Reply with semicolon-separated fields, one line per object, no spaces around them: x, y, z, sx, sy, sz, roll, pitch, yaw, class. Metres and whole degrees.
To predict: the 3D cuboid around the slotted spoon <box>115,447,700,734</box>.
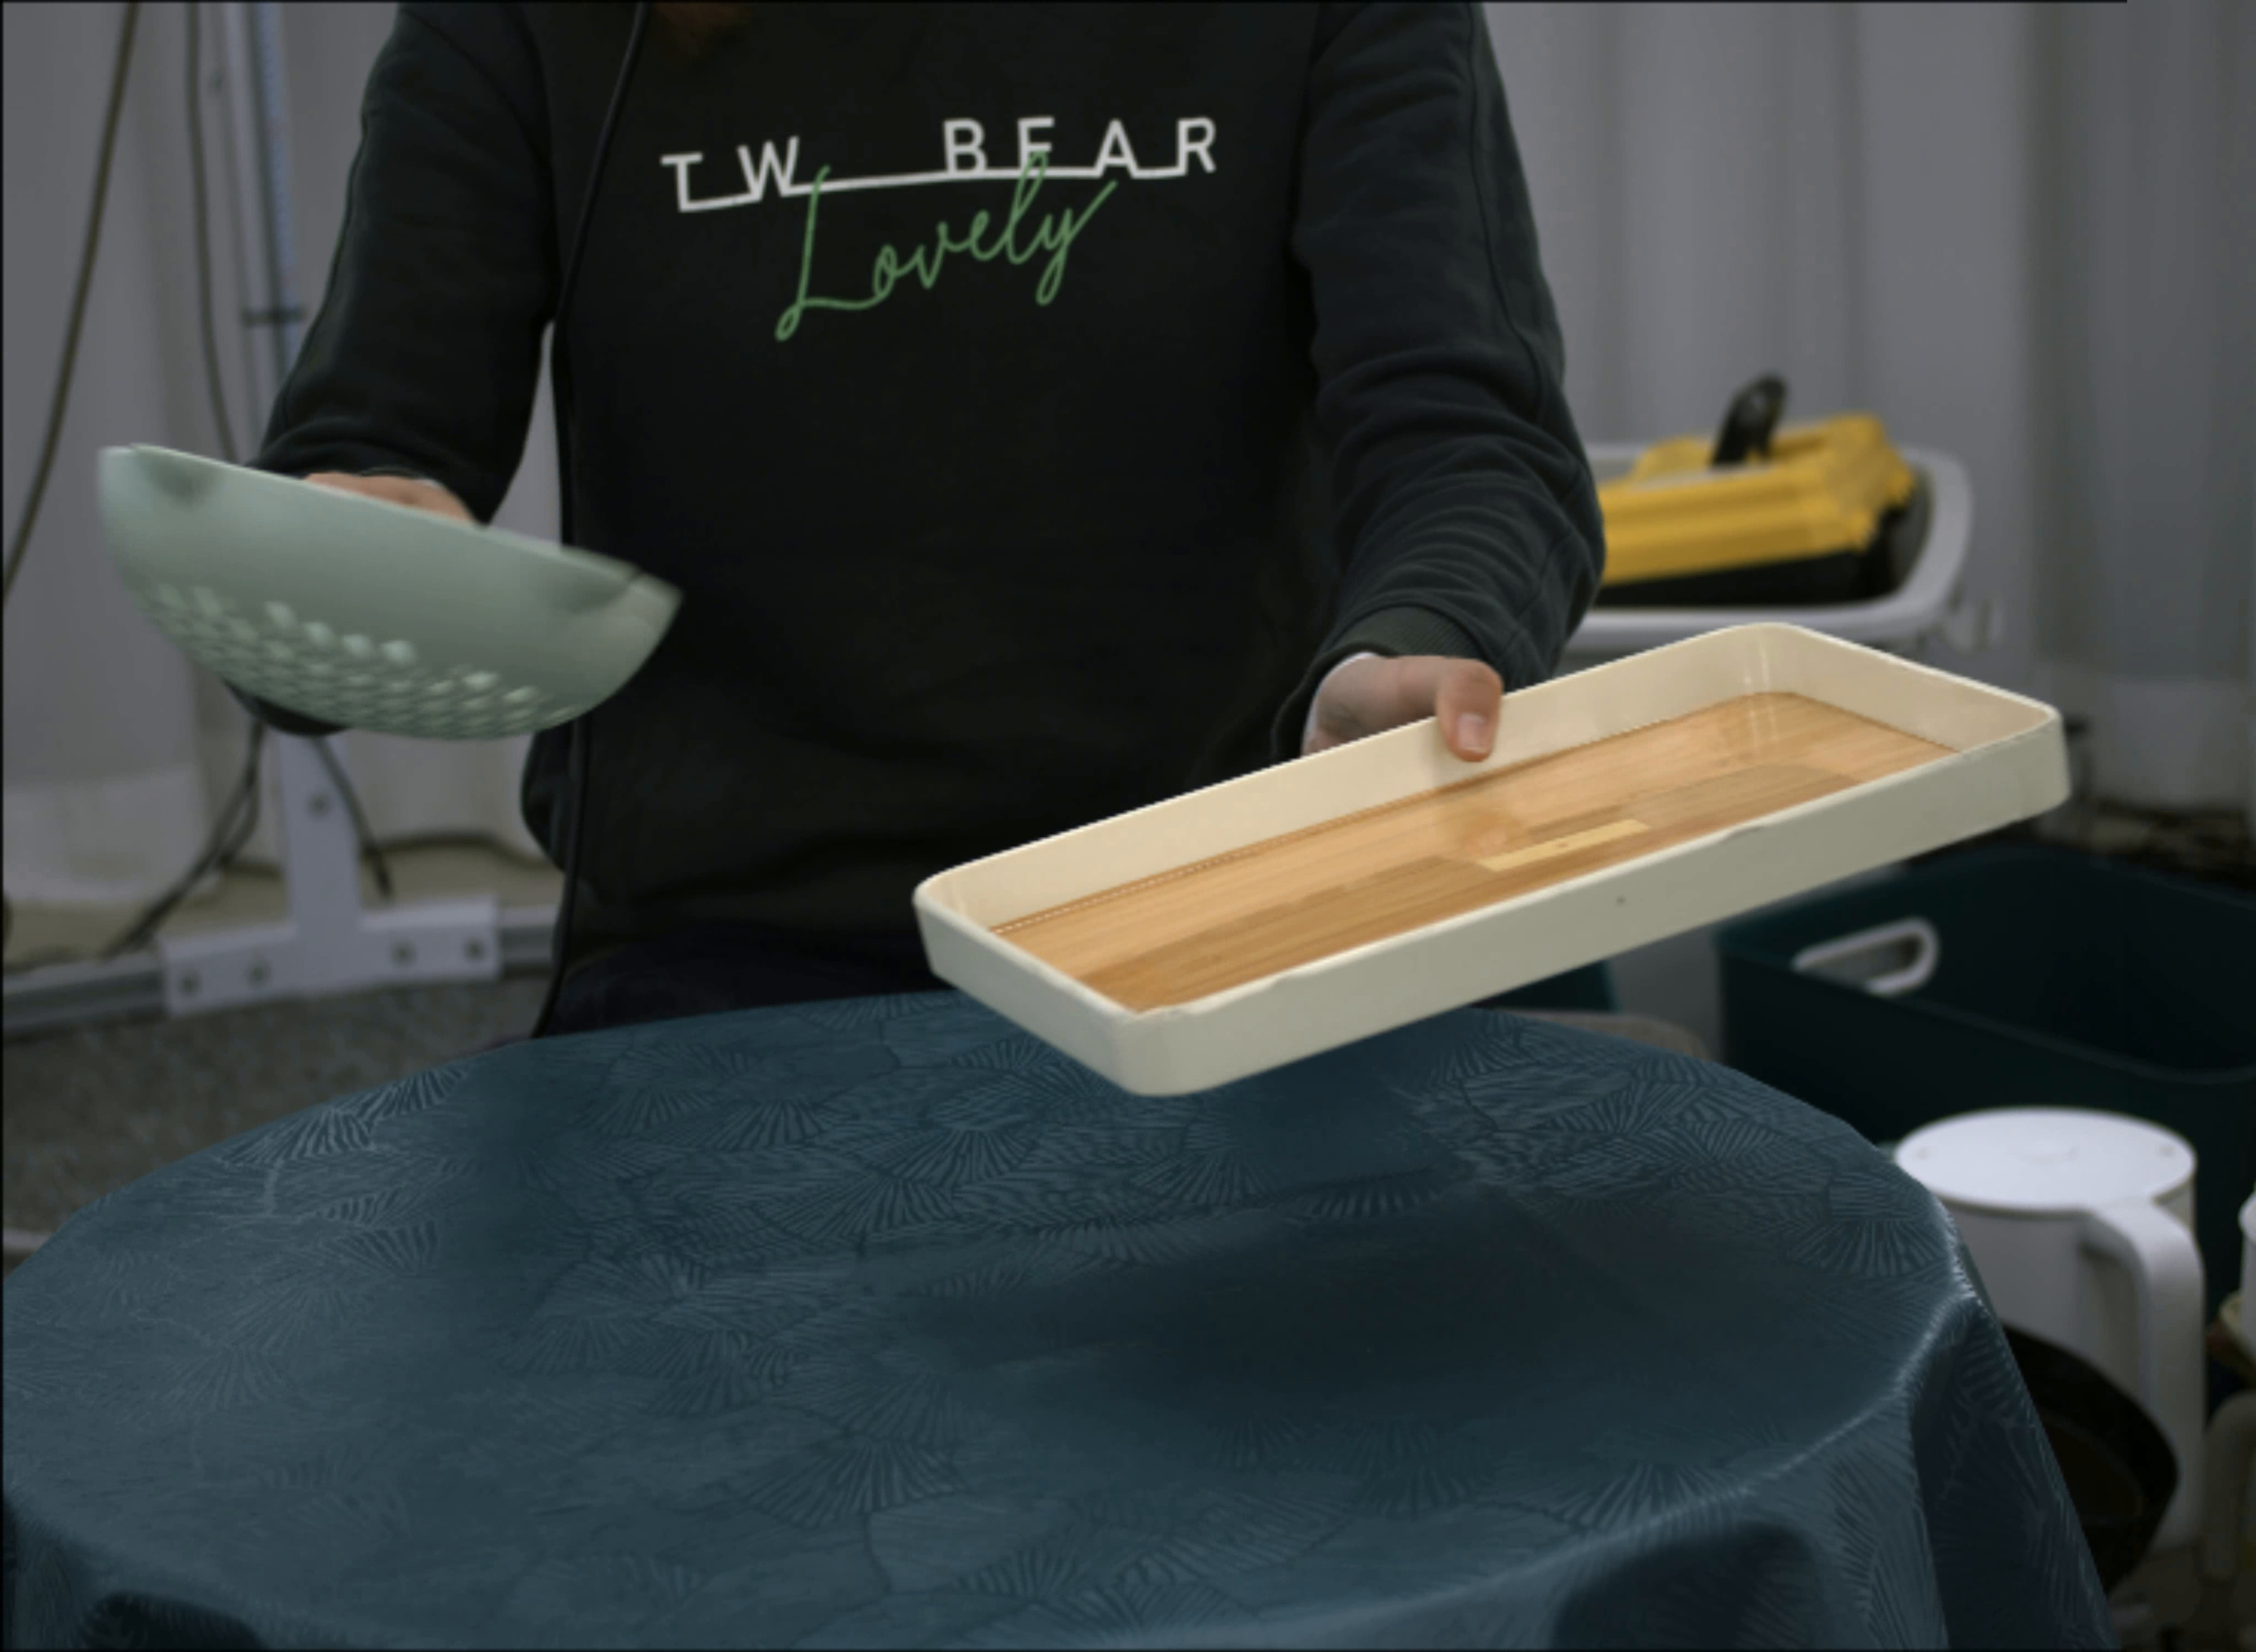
-0.218;-0.069;1.660;0.168;0.075;0.360;13;4;-5;slotted spoon

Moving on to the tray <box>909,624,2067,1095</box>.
0.102;0.005;1.590;0.299;0.027;0.193;-17;17;-18;tray
